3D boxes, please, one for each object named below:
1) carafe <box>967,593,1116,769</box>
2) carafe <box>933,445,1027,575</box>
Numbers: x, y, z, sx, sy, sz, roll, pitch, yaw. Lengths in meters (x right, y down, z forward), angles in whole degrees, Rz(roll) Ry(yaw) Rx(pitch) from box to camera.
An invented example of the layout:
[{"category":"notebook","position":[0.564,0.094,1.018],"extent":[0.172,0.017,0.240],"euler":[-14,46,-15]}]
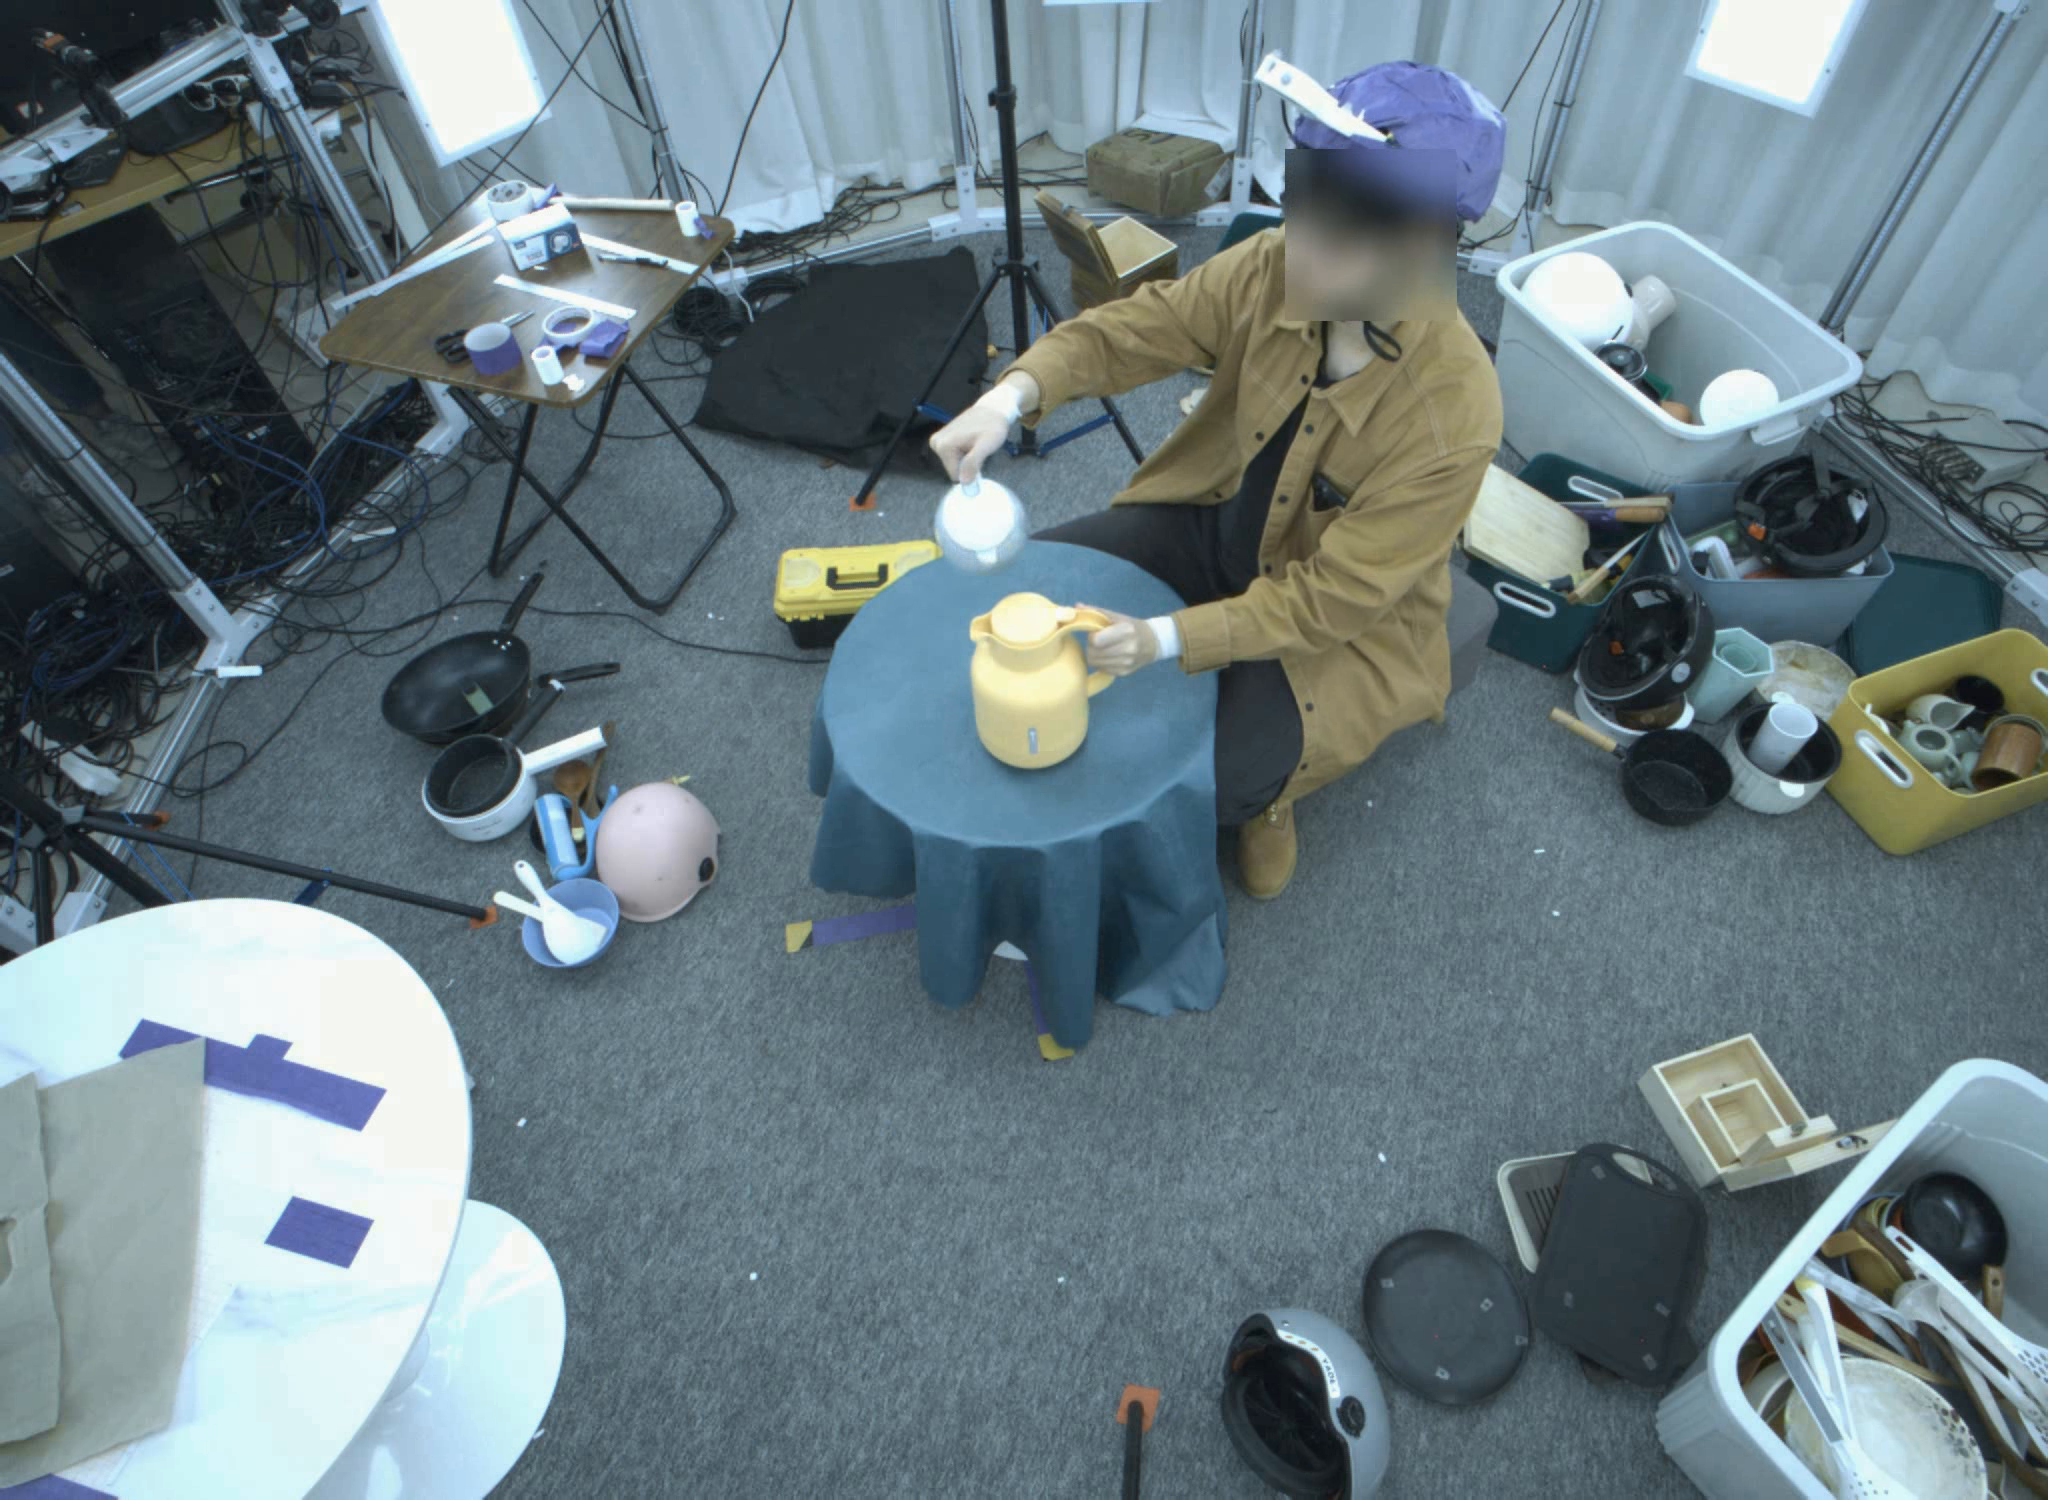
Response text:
[{"category":"carafe","position":[0.026,-0.101,1.695],"extent":[0.202,0.263,0.161],"euler":[-4,56,2]},{"category":"carafe","position":[-0.066,-0.327,1.656],"extent":[0.132,0.247,0.168],"euler":[-13,95,0]}]
